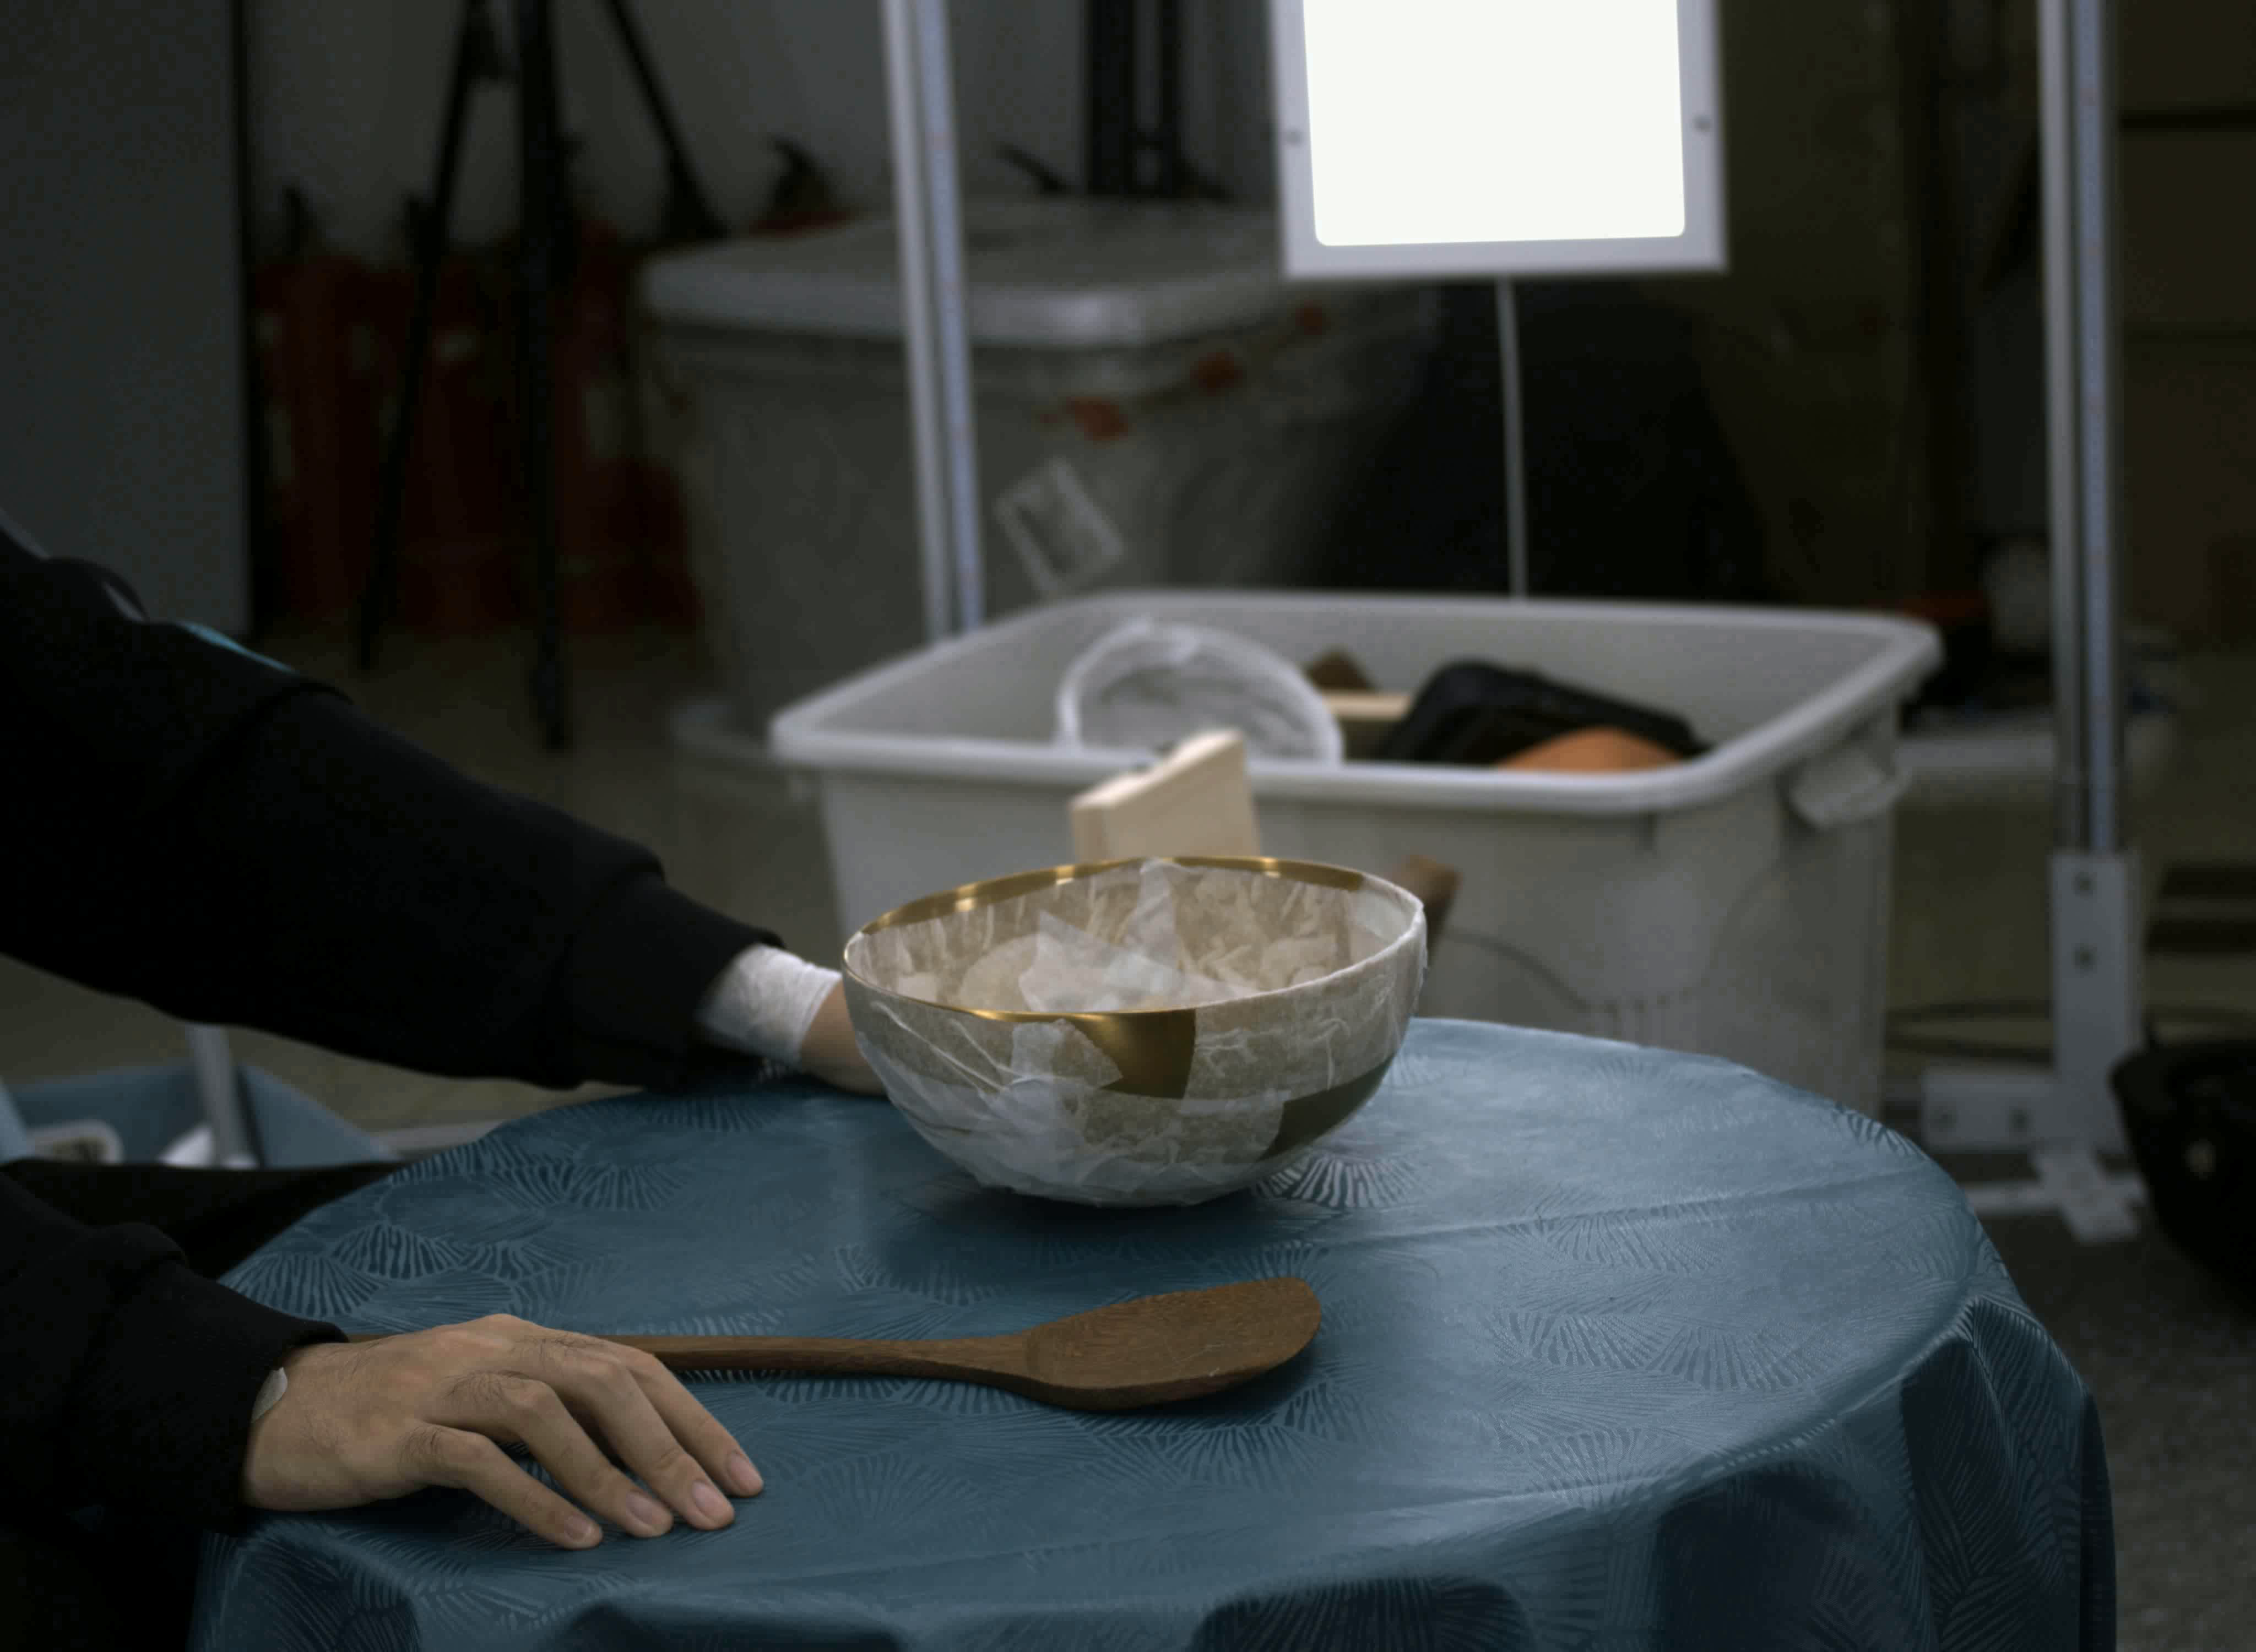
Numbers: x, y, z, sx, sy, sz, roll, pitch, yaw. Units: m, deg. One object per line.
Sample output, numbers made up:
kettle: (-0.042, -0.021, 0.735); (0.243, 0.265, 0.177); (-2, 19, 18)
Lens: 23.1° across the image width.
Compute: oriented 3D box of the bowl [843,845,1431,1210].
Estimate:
bowl: (0.004, 0.077, 1.901); (0.214, 0.095, 0.214); (-6, 15, 0)

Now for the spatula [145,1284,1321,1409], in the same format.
spatula: (-0.129, 0.167, 1.749); (0.389, 0.016, 0.095); (-2, 14, 13)
